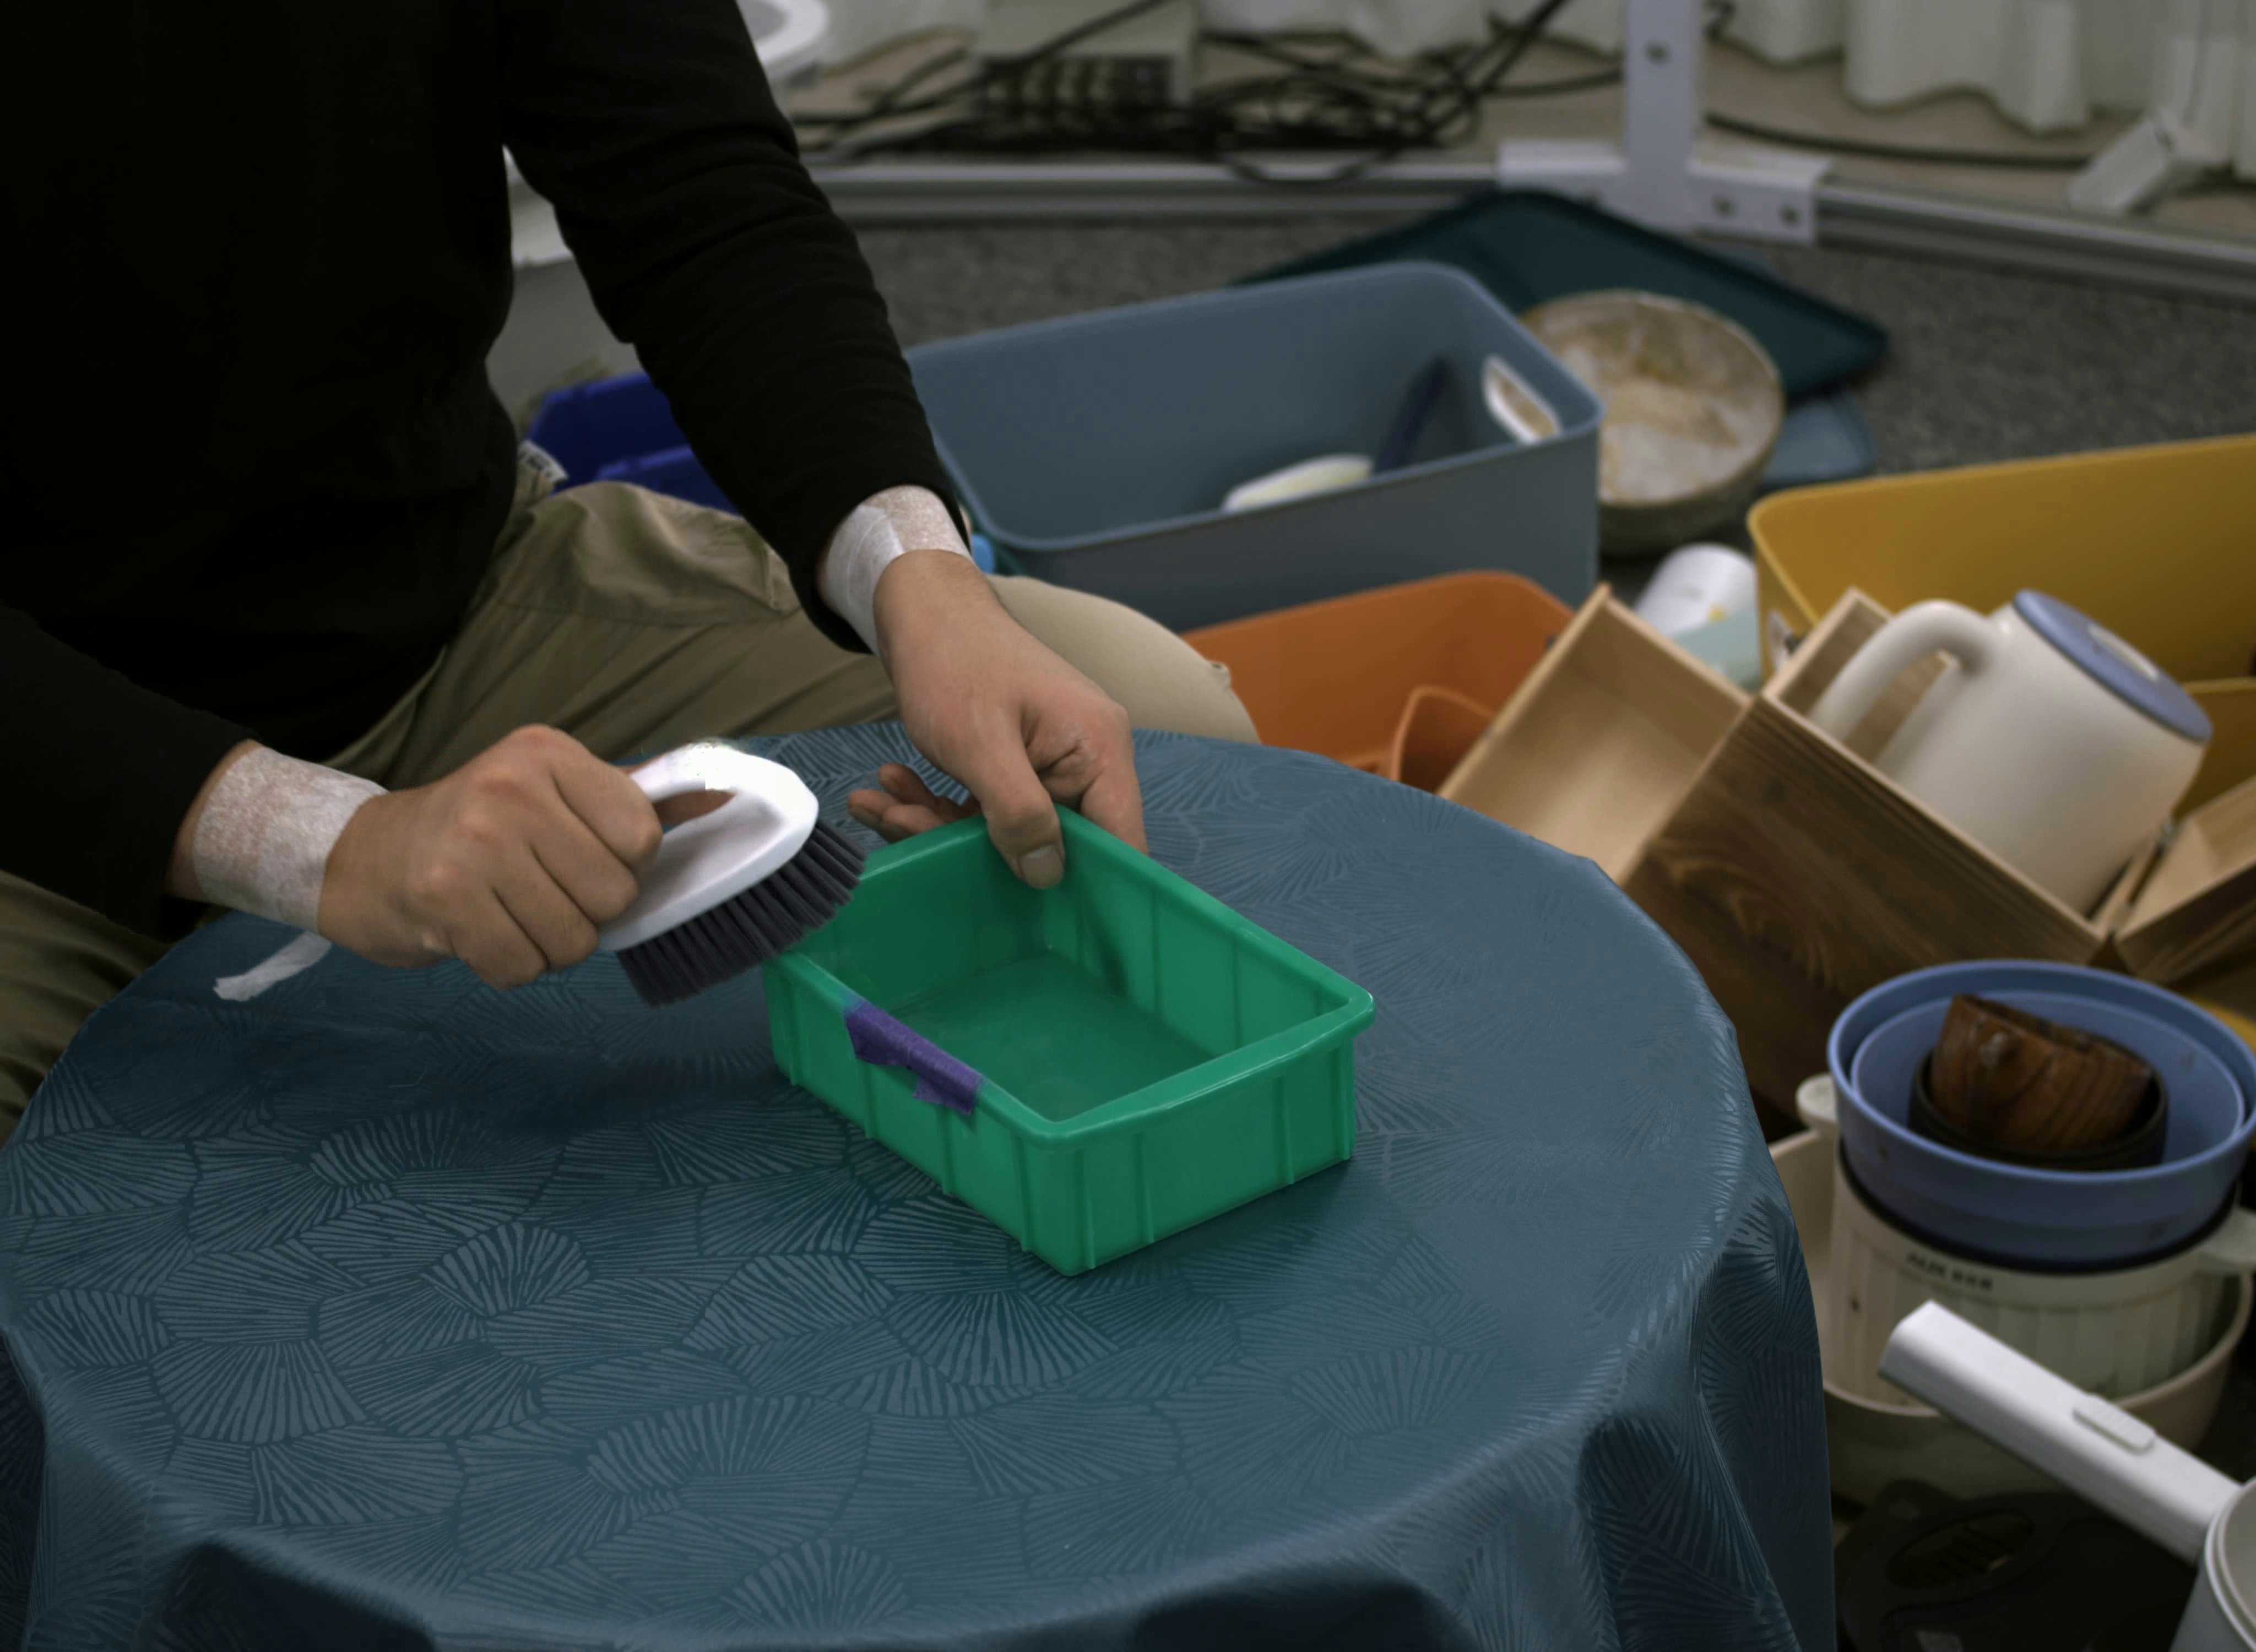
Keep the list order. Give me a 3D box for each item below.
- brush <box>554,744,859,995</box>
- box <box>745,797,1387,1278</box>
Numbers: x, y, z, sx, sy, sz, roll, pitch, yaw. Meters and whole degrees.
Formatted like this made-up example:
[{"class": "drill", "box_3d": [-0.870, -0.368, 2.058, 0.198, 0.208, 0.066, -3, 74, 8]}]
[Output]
[{"class": "brush", "box_3d": [-0.150, 0.009, 1.907, 0.098, 0.072, 0.051, -25, 30, 27]}, {"class": "box", "box_3d": [-0.022, 0.071, 1.893, 0.140, 0.064, 0.211, -23, 34, -30]}]
